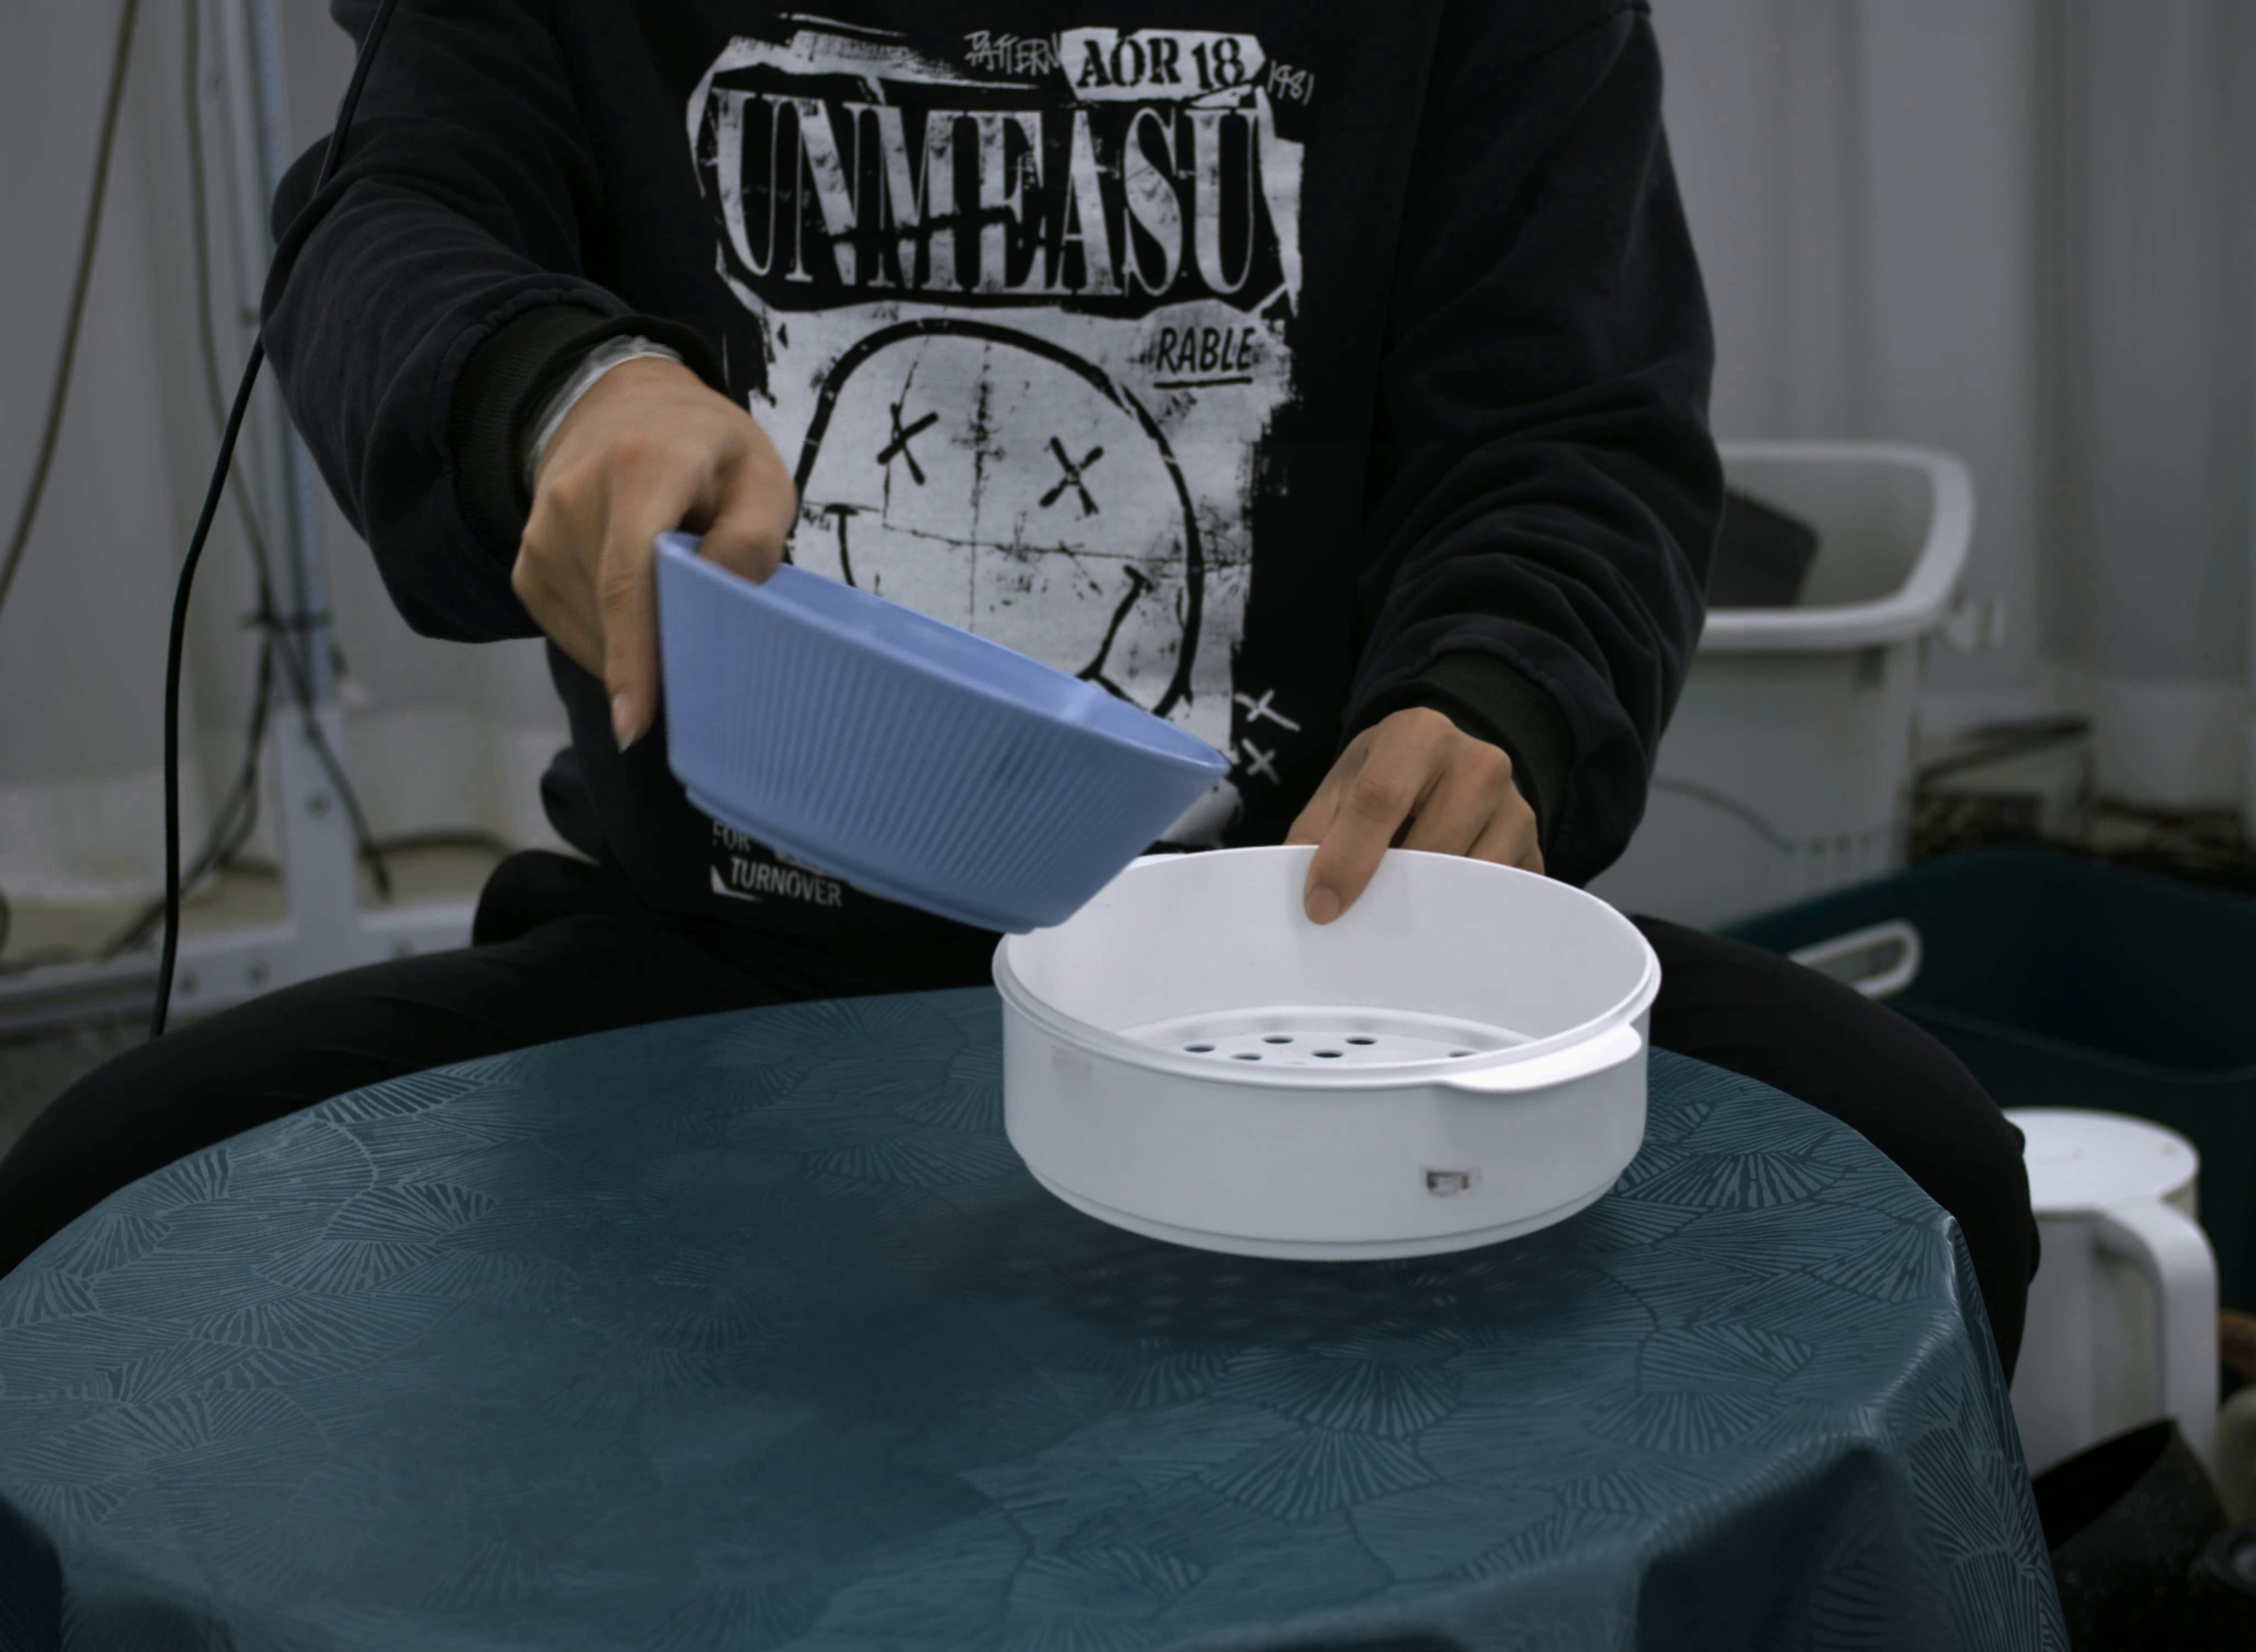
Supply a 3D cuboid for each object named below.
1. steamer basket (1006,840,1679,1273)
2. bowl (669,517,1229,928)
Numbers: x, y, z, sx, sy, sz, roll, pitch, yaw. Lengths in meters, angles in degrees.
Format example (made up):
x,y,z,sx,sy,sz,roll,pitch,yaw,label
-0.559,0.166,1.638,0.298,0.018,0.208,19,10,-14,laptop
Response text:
x,y,z,sx,sy,sz,roll,pitch,yaw,label
0.063,0.069,1.640,0.201,0.069,0.232,-14,25,-36,steamer basket
-0.063,-0.024,1.566,0.175,0.070,0.176,24,3,-2,bowl
